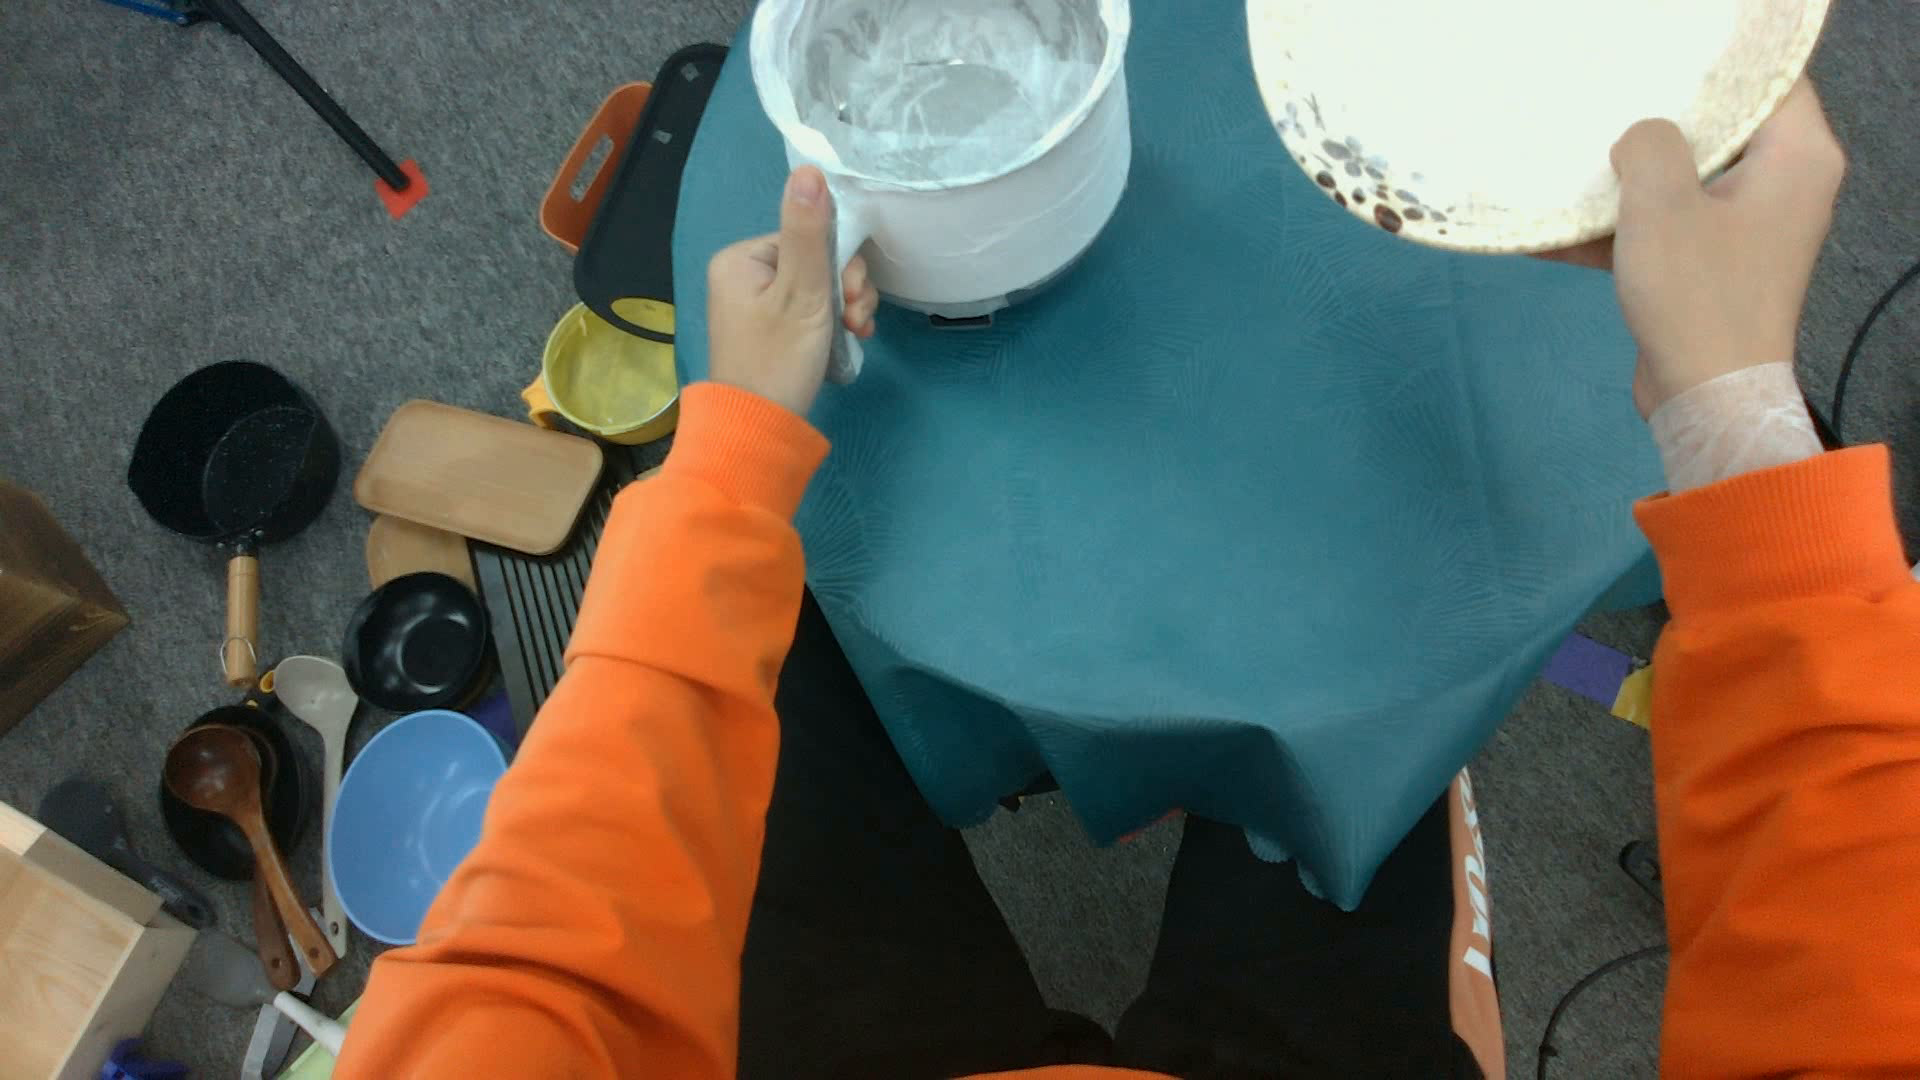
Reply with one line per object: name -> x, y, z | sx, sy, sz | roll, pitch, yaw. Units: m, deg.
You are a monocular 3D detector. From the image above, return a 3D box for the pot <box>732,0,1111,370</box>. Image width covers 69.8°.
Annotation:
pot -> -0.026, -0.200, 0.692 | 0.178, 0.136, 0.234 | 26, 75, 16

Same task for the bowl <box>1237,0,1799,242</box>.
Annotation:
bowl -> 0.221, -0.218, 0.559 | 0.203, 0.078, 0.204 | 1, 92, 23
